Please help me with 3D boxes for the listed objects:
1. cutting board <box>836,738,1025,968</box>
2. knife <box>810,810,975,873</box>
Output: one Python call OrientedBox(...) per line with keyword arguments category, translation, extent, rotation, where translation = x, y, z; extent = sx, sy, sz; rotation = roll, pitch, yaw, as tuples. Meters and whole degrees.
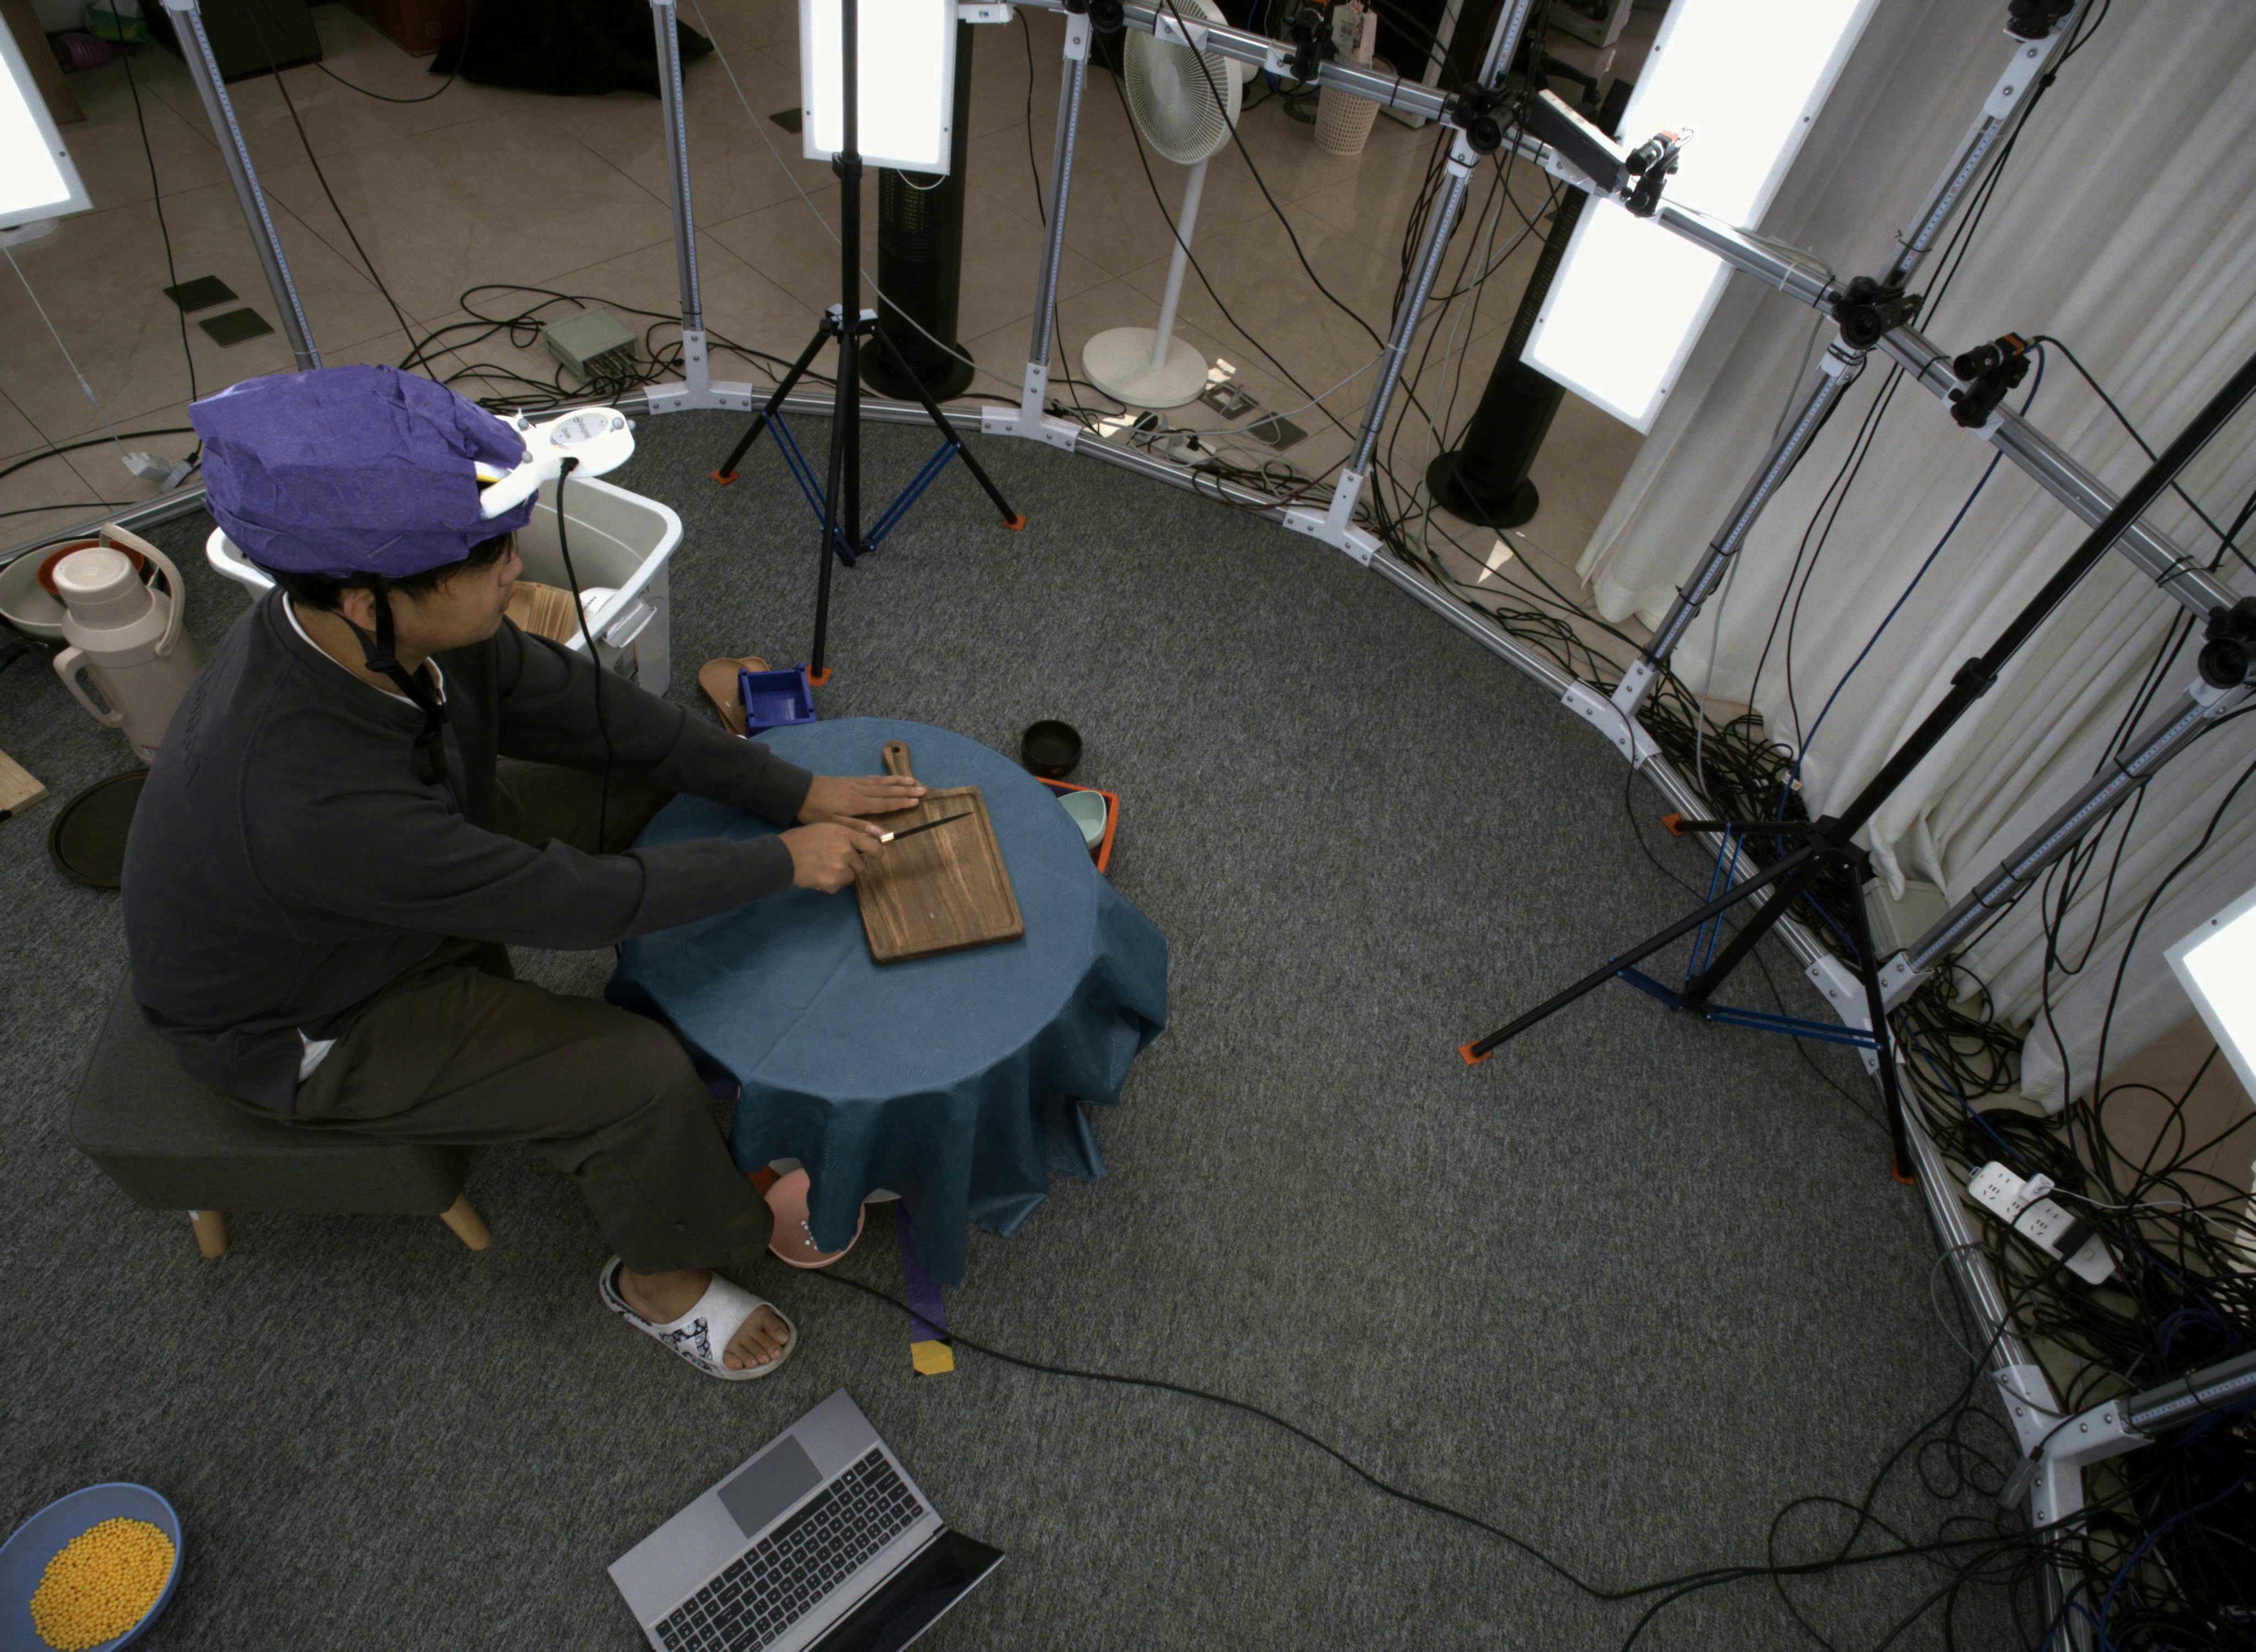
OrientedBox(category="cutting board", translation=(-0.276, 0.020, 1.729), extent=(0.202, 0.023, 0.343), rotation=(-9, 57, -20))
OrientedBox(category="knife", translation=(-0.299, 0.015, 1.664), extent=(0.226, 0.026, 0.017), rotation=(-21, 73, -20))
